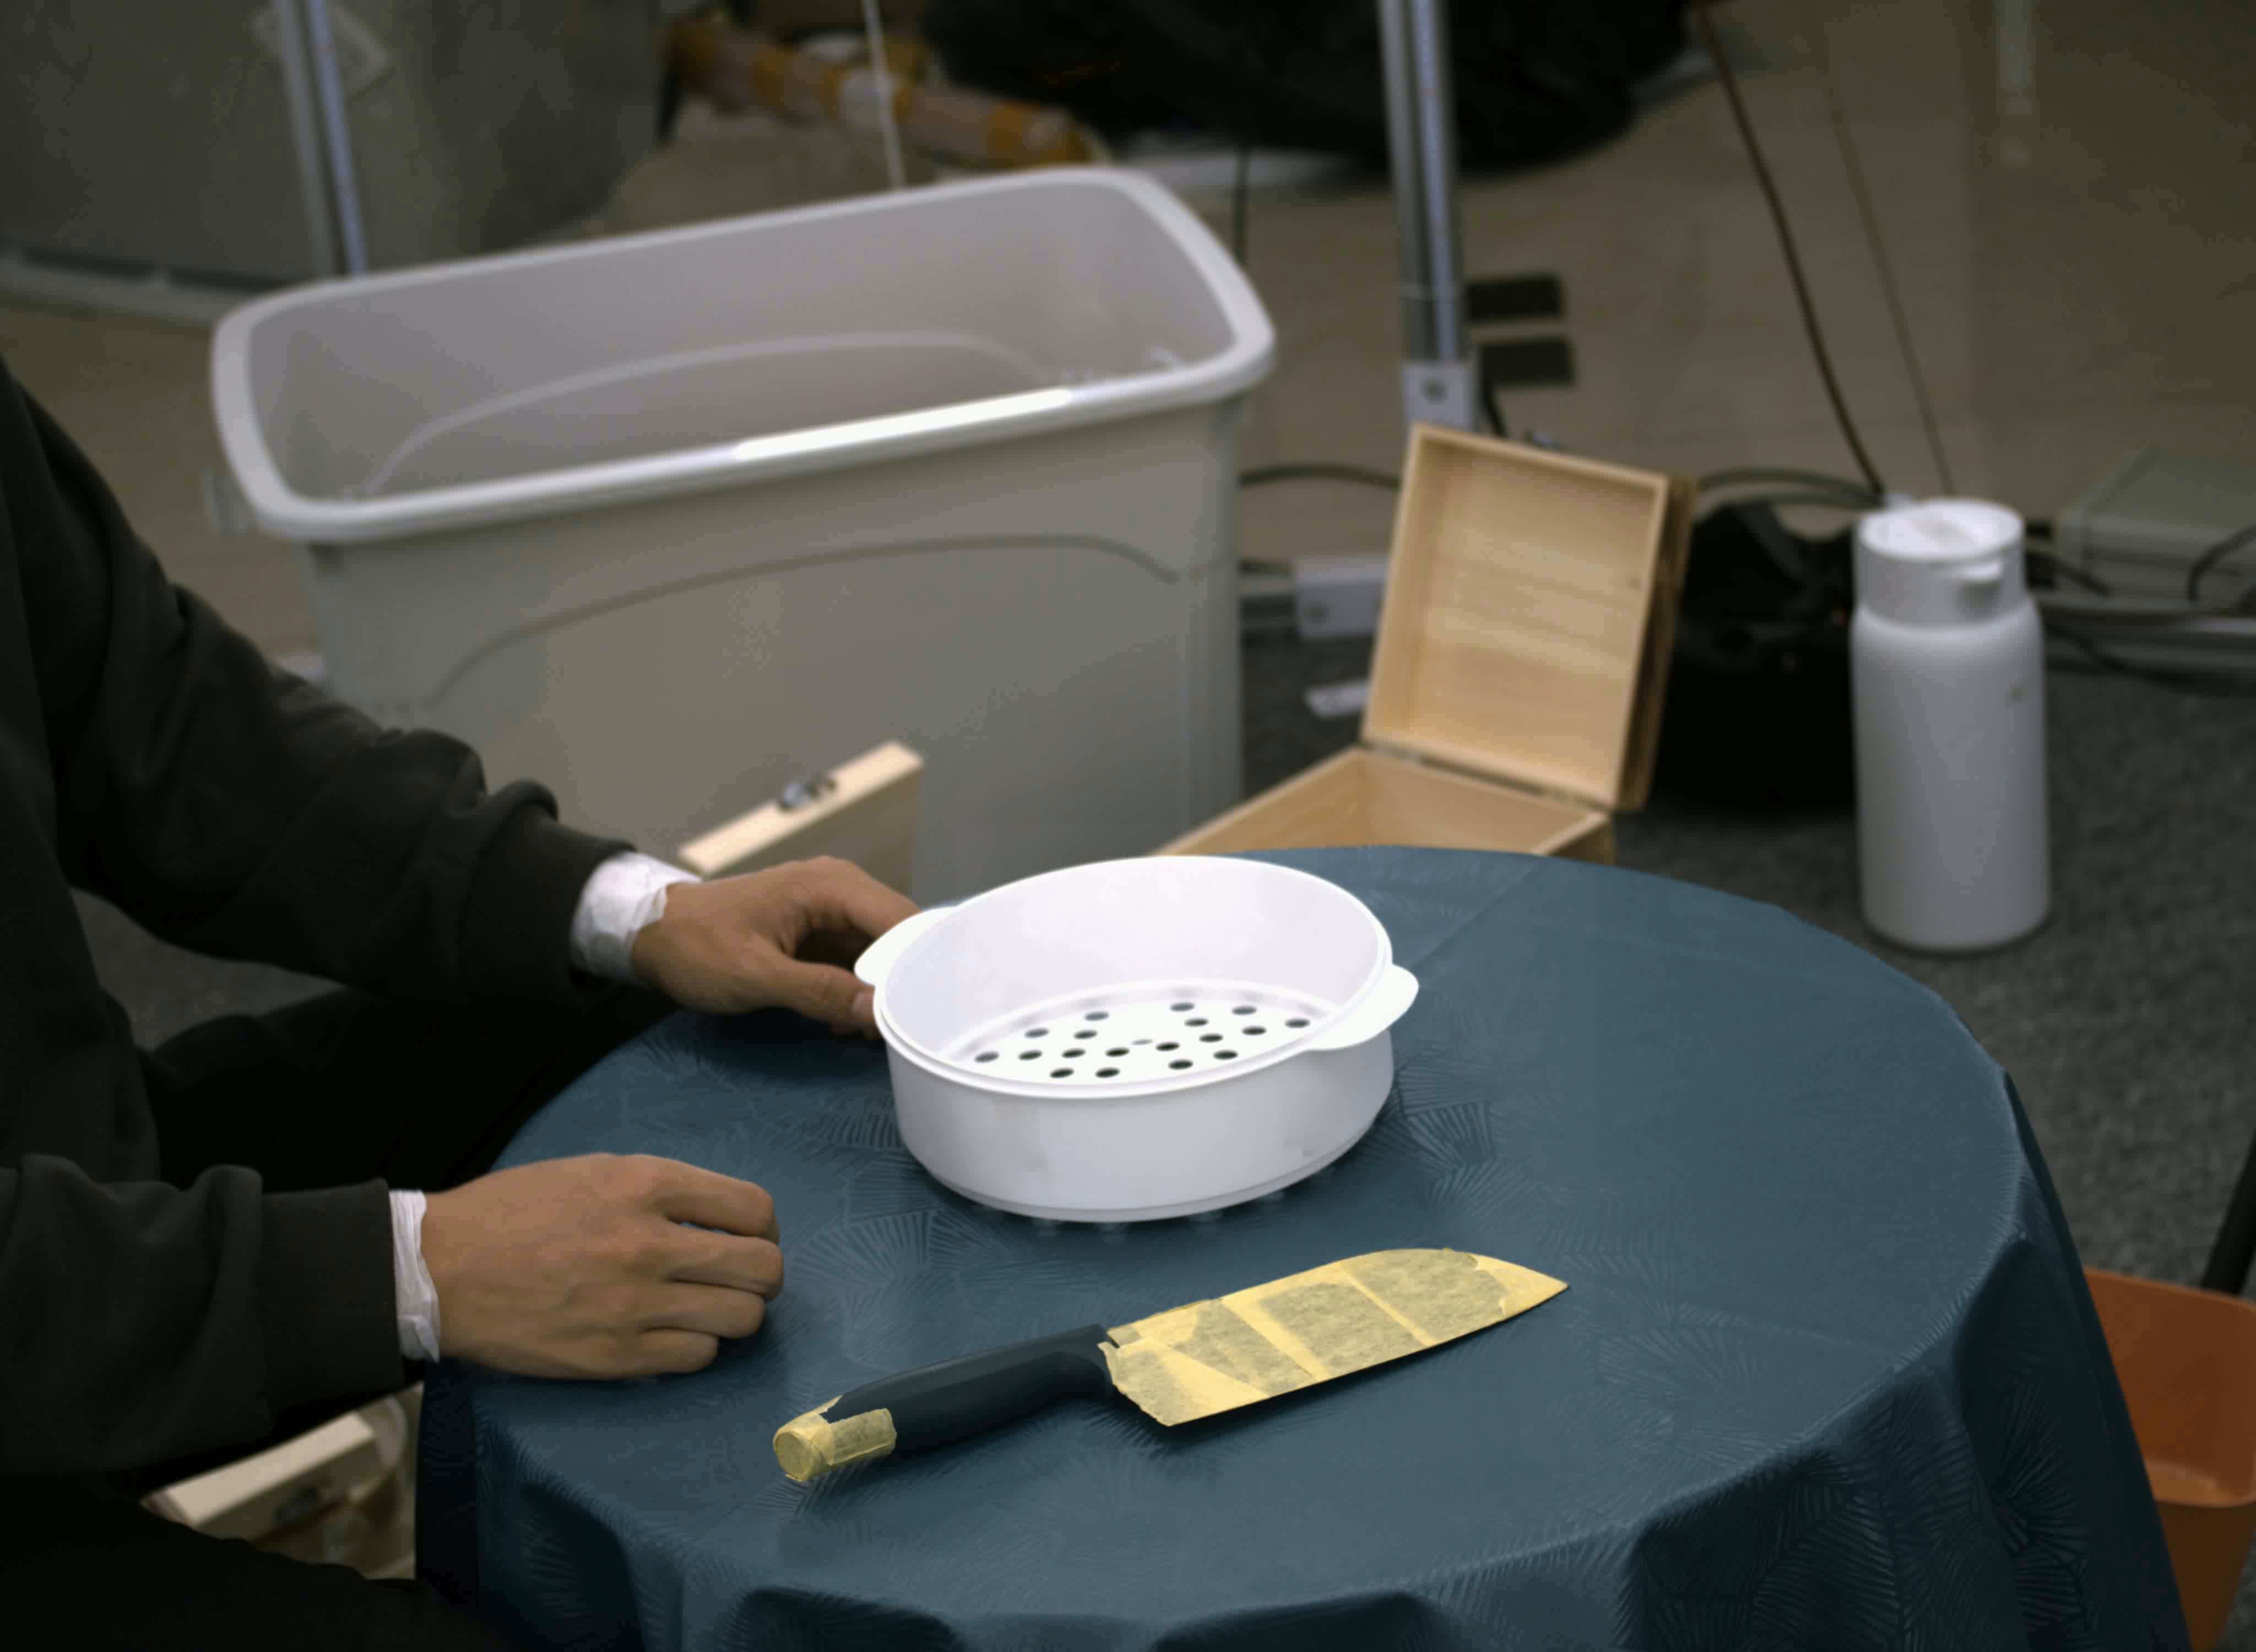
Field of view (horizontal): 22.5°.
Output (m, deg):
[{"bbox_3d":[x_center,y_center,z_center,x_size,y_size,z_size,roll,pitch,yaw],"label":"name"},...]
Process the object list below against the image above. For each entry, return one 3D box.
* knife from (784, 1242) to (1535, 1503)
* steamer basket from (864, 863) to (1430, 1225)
[{"bbox_3d":[0.017,0.193,2.014,0.288,0.027,0.080,-15,24,-20],"label":"knife"},{"bbox_3d":[0.009,0.084,2.187,0.229,0.070,0.199,7,27,29],"label":"steamer basket"}]
